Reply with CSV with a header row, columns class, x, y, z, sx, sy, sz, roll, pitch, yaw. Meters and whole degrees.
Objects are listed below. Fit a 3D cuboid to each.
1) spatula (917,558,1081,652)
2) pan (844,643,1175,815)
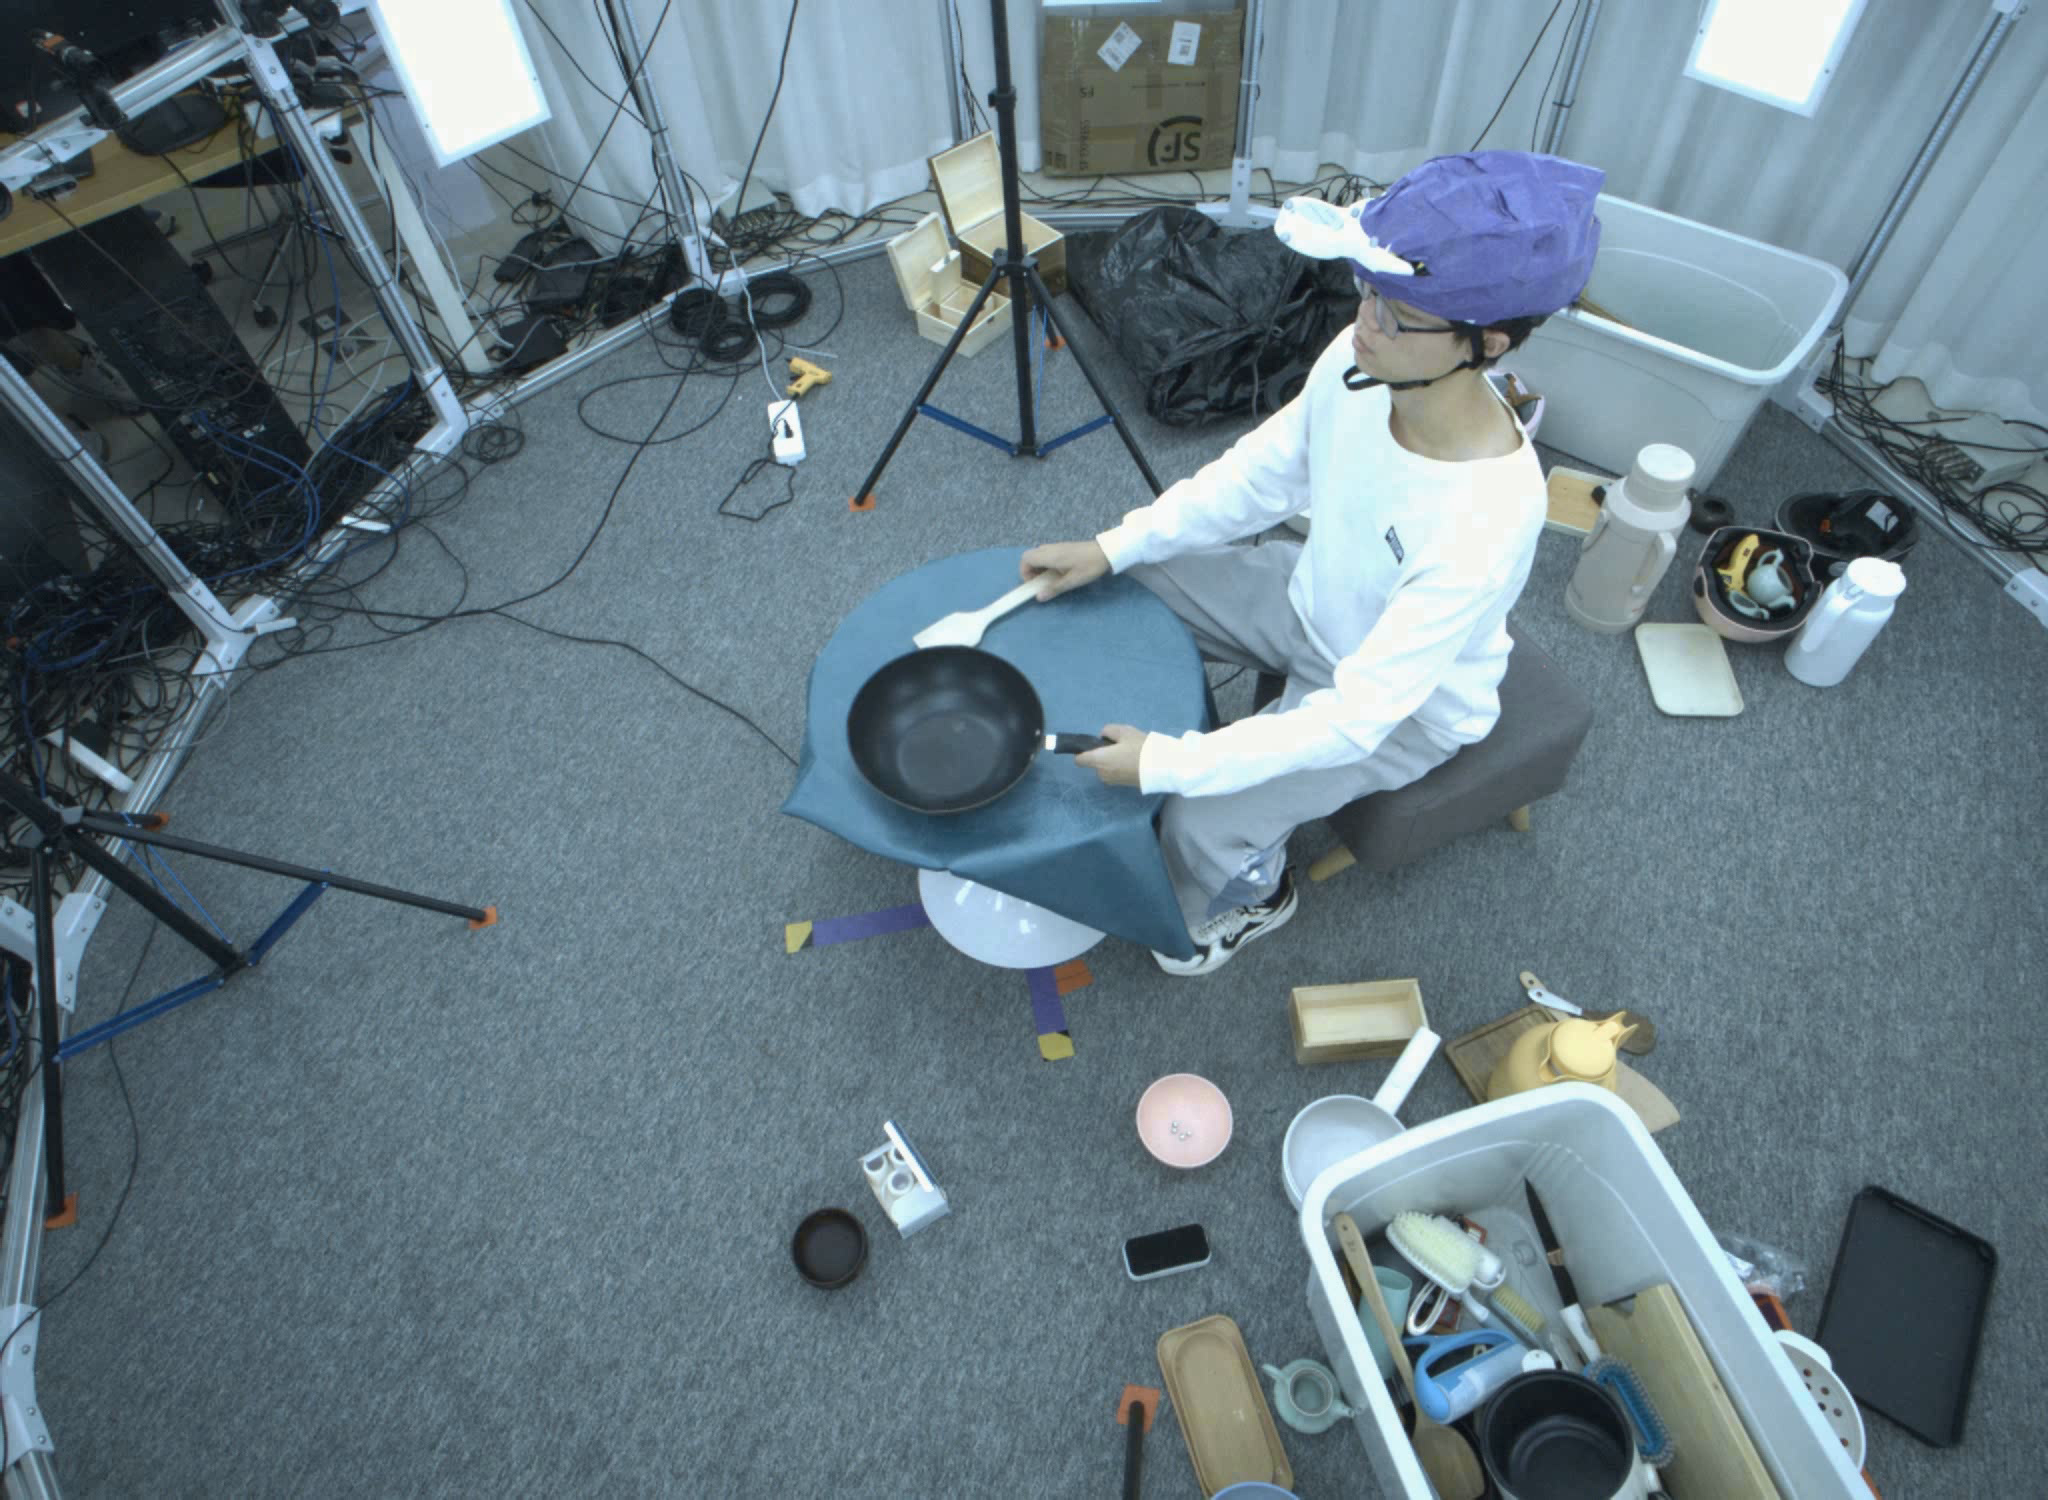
class,x,y,z,sx,sy,sz,roll,pitch,yaw
spatula,-0.033,-0.226,1.930,0.295,0.011,0.071,-33,67,-17
pan,-0.020,-0.004,1.737,0.462,0.087,0.286,8,58,3
